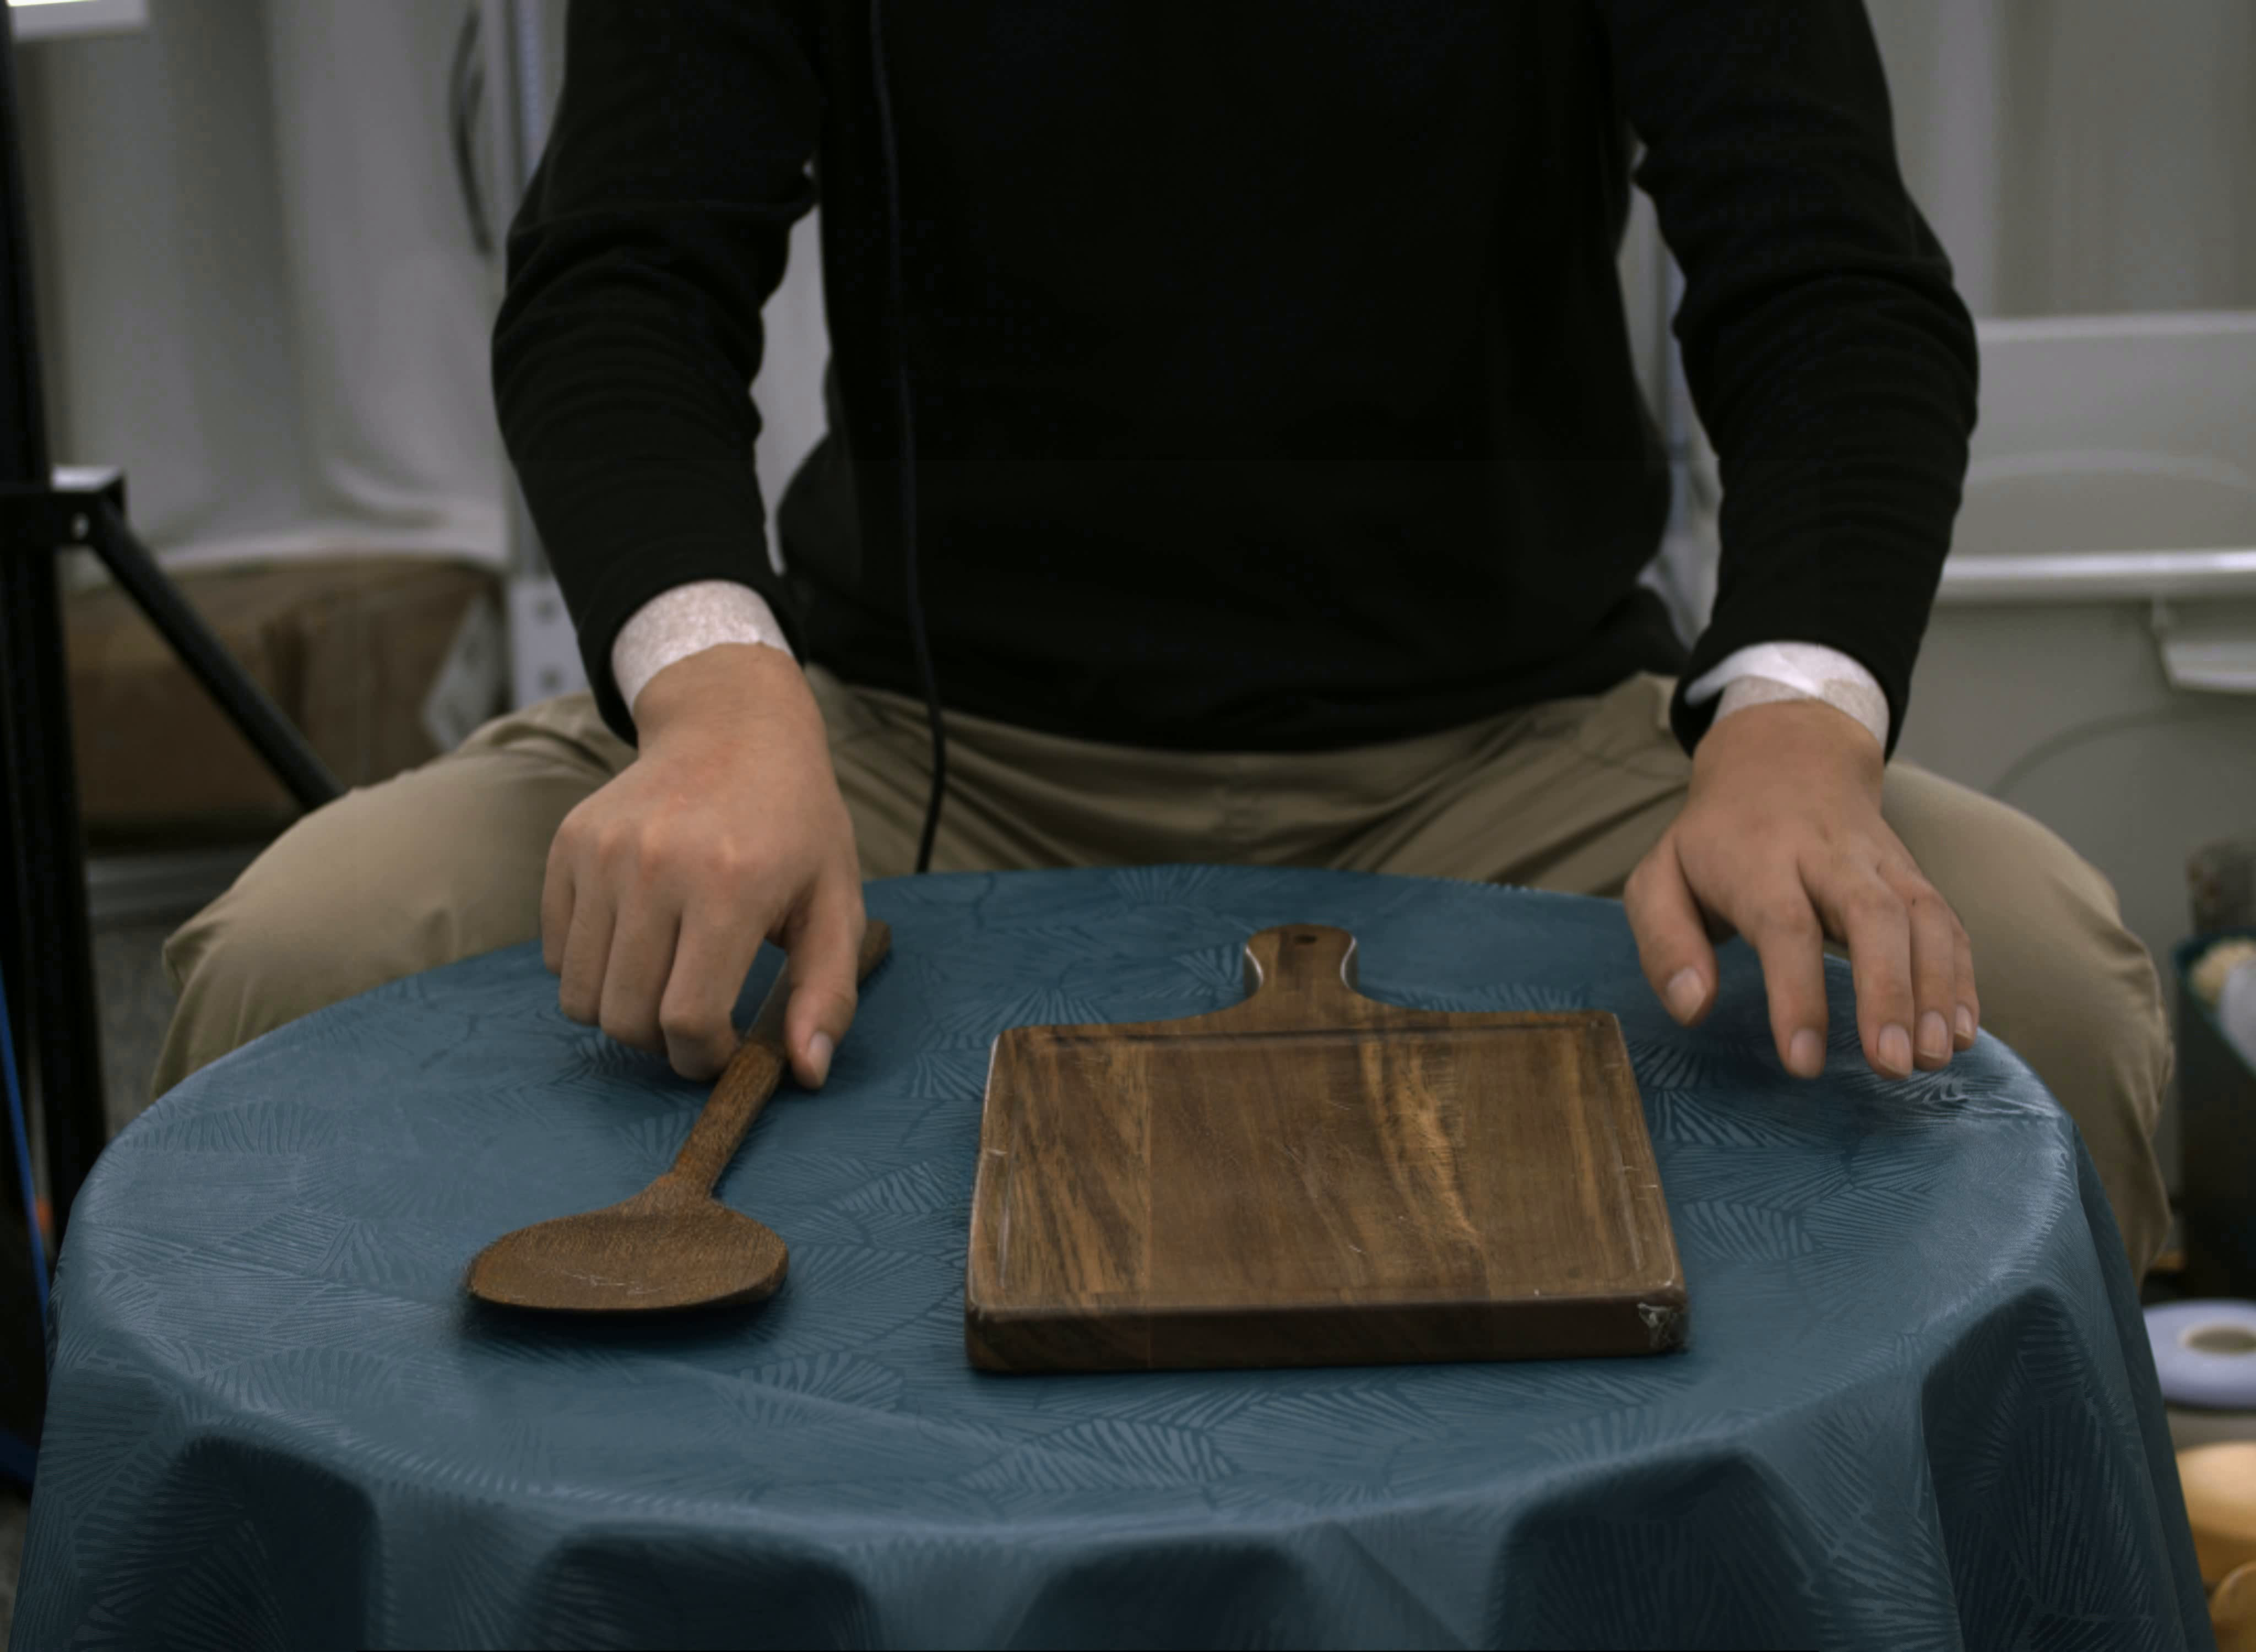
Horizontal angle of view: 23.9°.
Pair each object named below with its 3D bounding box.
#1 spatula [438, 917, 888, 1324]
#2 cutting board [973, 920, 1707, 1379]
[{"bbox_3d":[-0.120,0.084,1.635,0.096,0.016,0.385,0,16,9],"label":"spatula"},{"bbox_3d":[0.055,0.089,1.579,0.200,0.023,0.353,-2,16,1],"label":"cutting board"}]
